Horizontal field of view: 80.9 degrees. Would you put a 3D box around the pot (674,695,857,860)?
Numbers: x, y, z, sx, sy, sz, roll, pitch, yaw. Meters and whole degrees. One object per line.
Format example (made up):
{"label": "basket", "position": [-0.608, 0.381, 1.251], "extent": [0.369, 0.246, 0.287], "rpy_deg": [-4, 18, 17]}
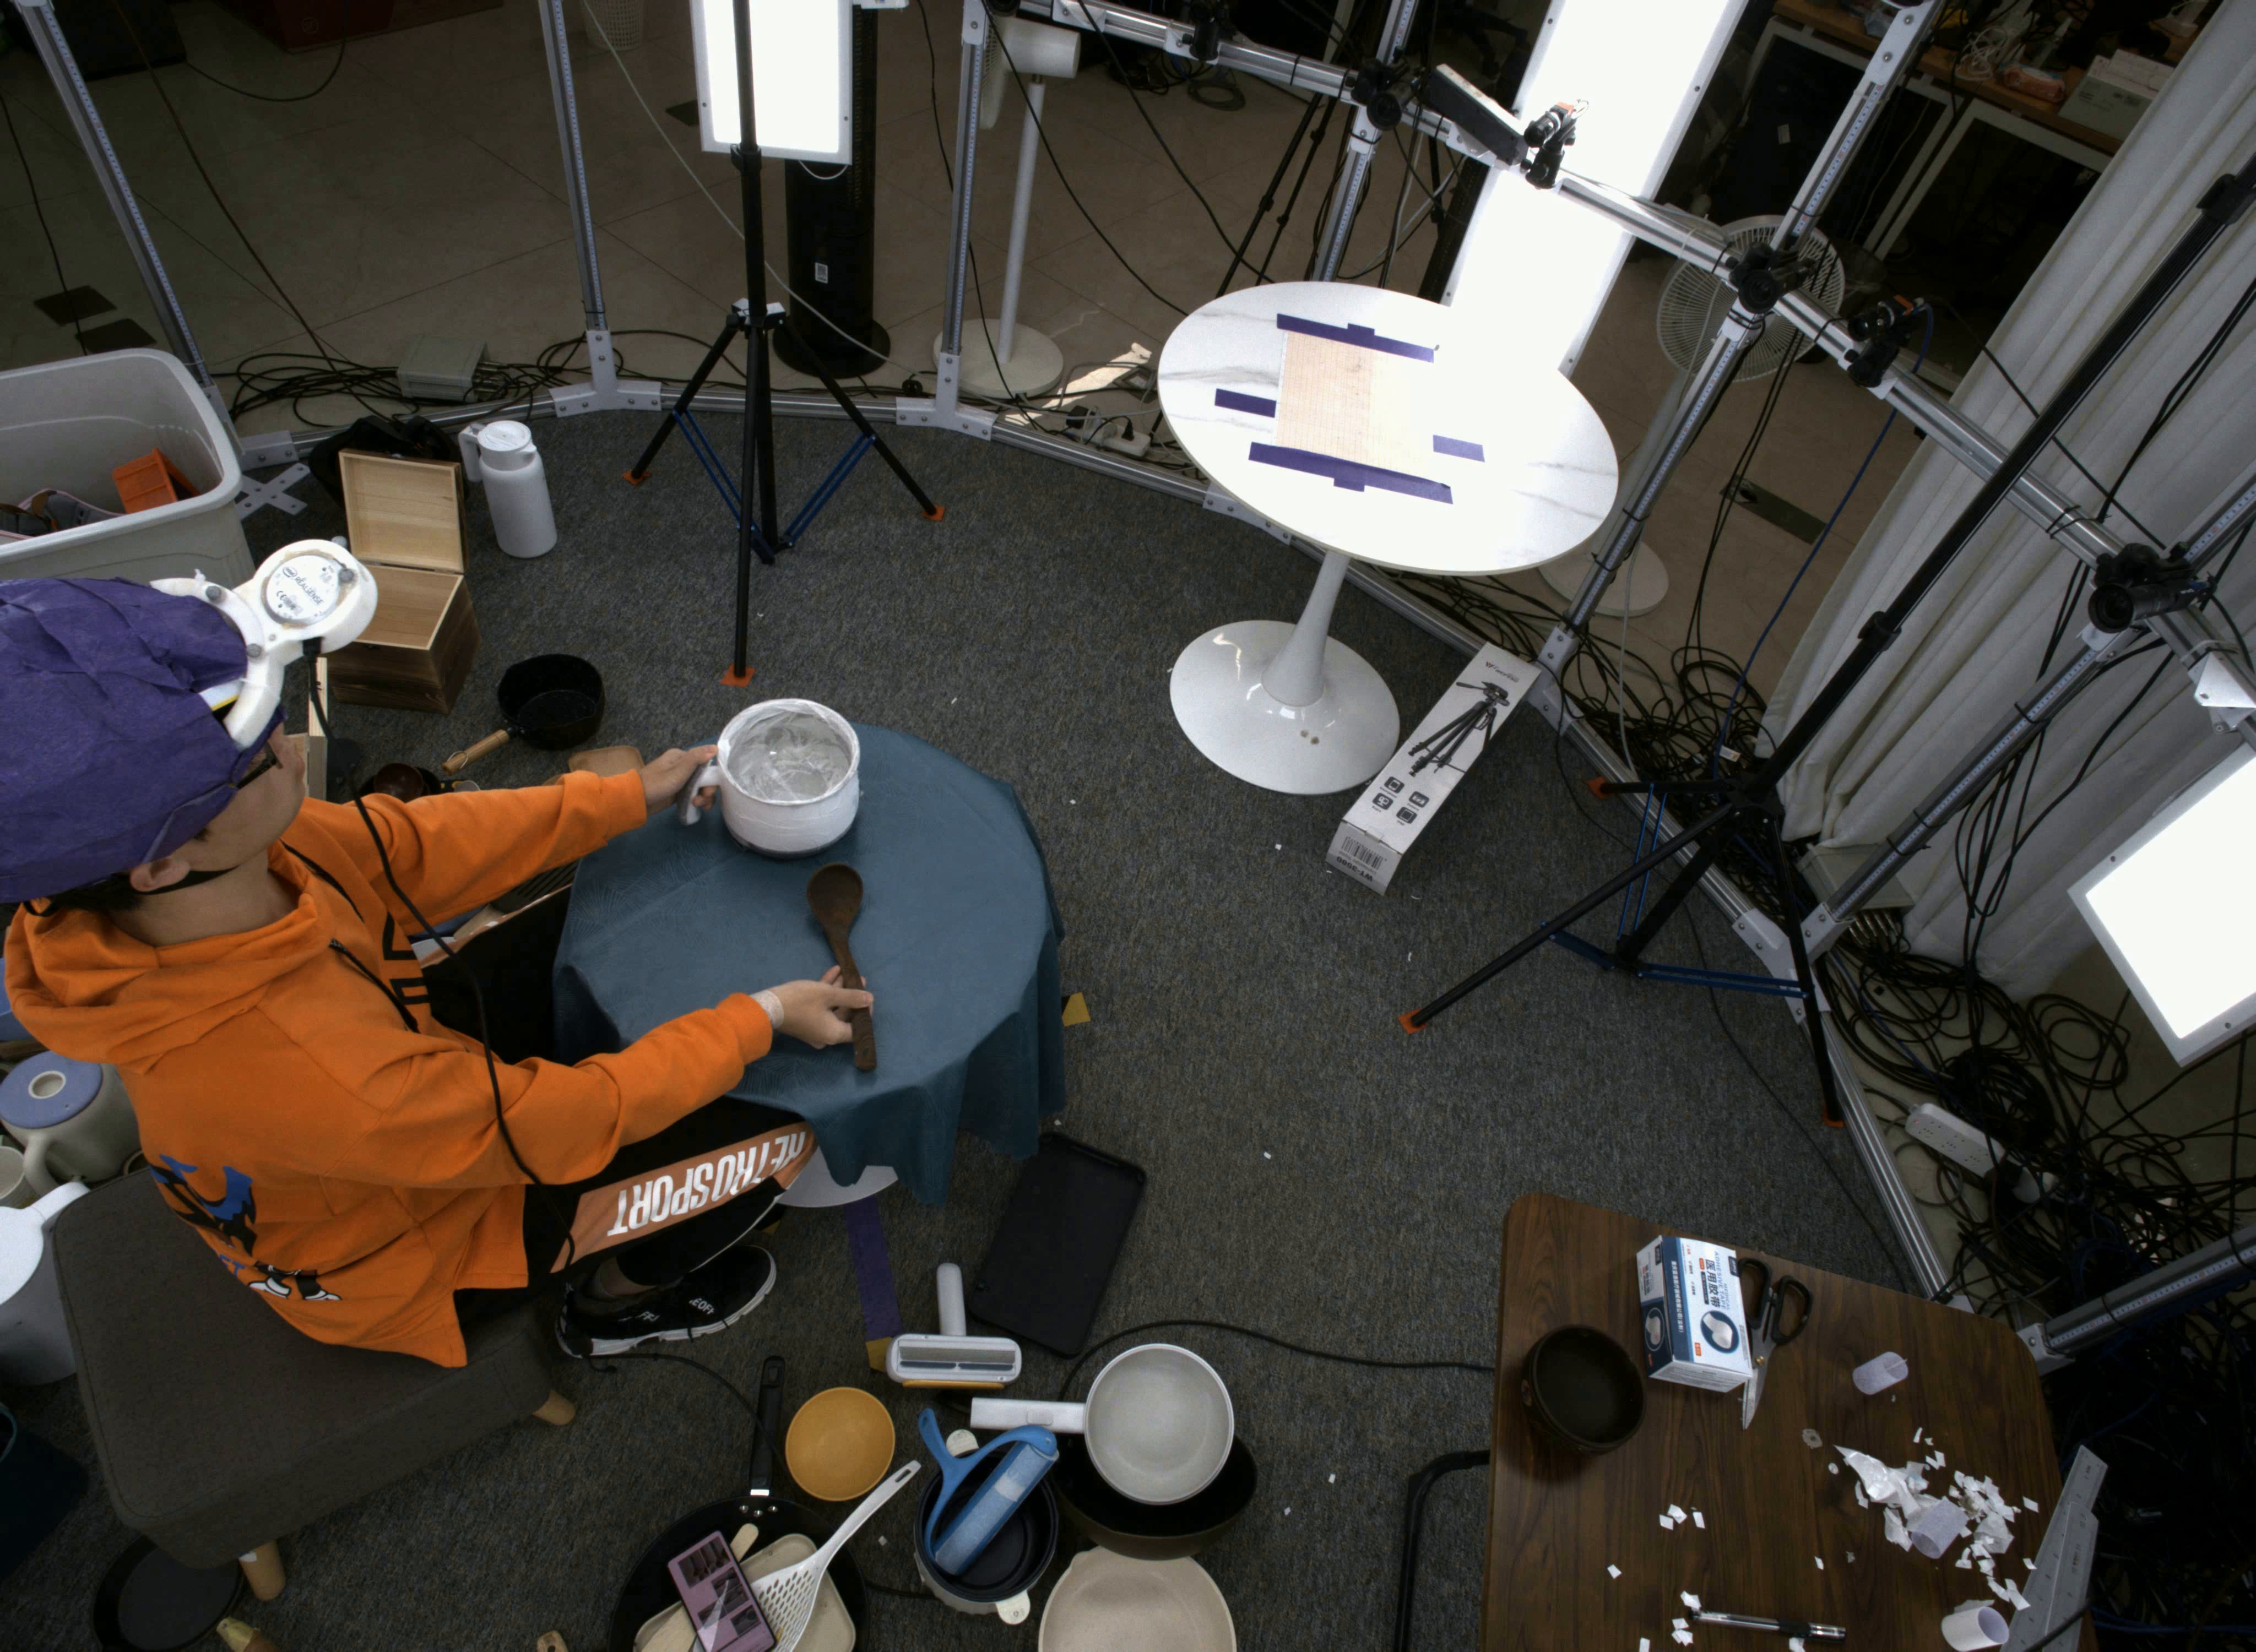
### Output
{"label": "pot", "position": [-0.464, -0.055, 1.655], "extent": [0.235, 0.139, 0.174], "rpy_deg": [-8, 55, -20]}

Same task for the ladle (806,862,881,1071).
{"label": "ladle", "position": [-0.331, 0.160, 1.564], "extent": [0.077, 0.072, 0.266], "rpy_deg": [3, 45, -32]}
